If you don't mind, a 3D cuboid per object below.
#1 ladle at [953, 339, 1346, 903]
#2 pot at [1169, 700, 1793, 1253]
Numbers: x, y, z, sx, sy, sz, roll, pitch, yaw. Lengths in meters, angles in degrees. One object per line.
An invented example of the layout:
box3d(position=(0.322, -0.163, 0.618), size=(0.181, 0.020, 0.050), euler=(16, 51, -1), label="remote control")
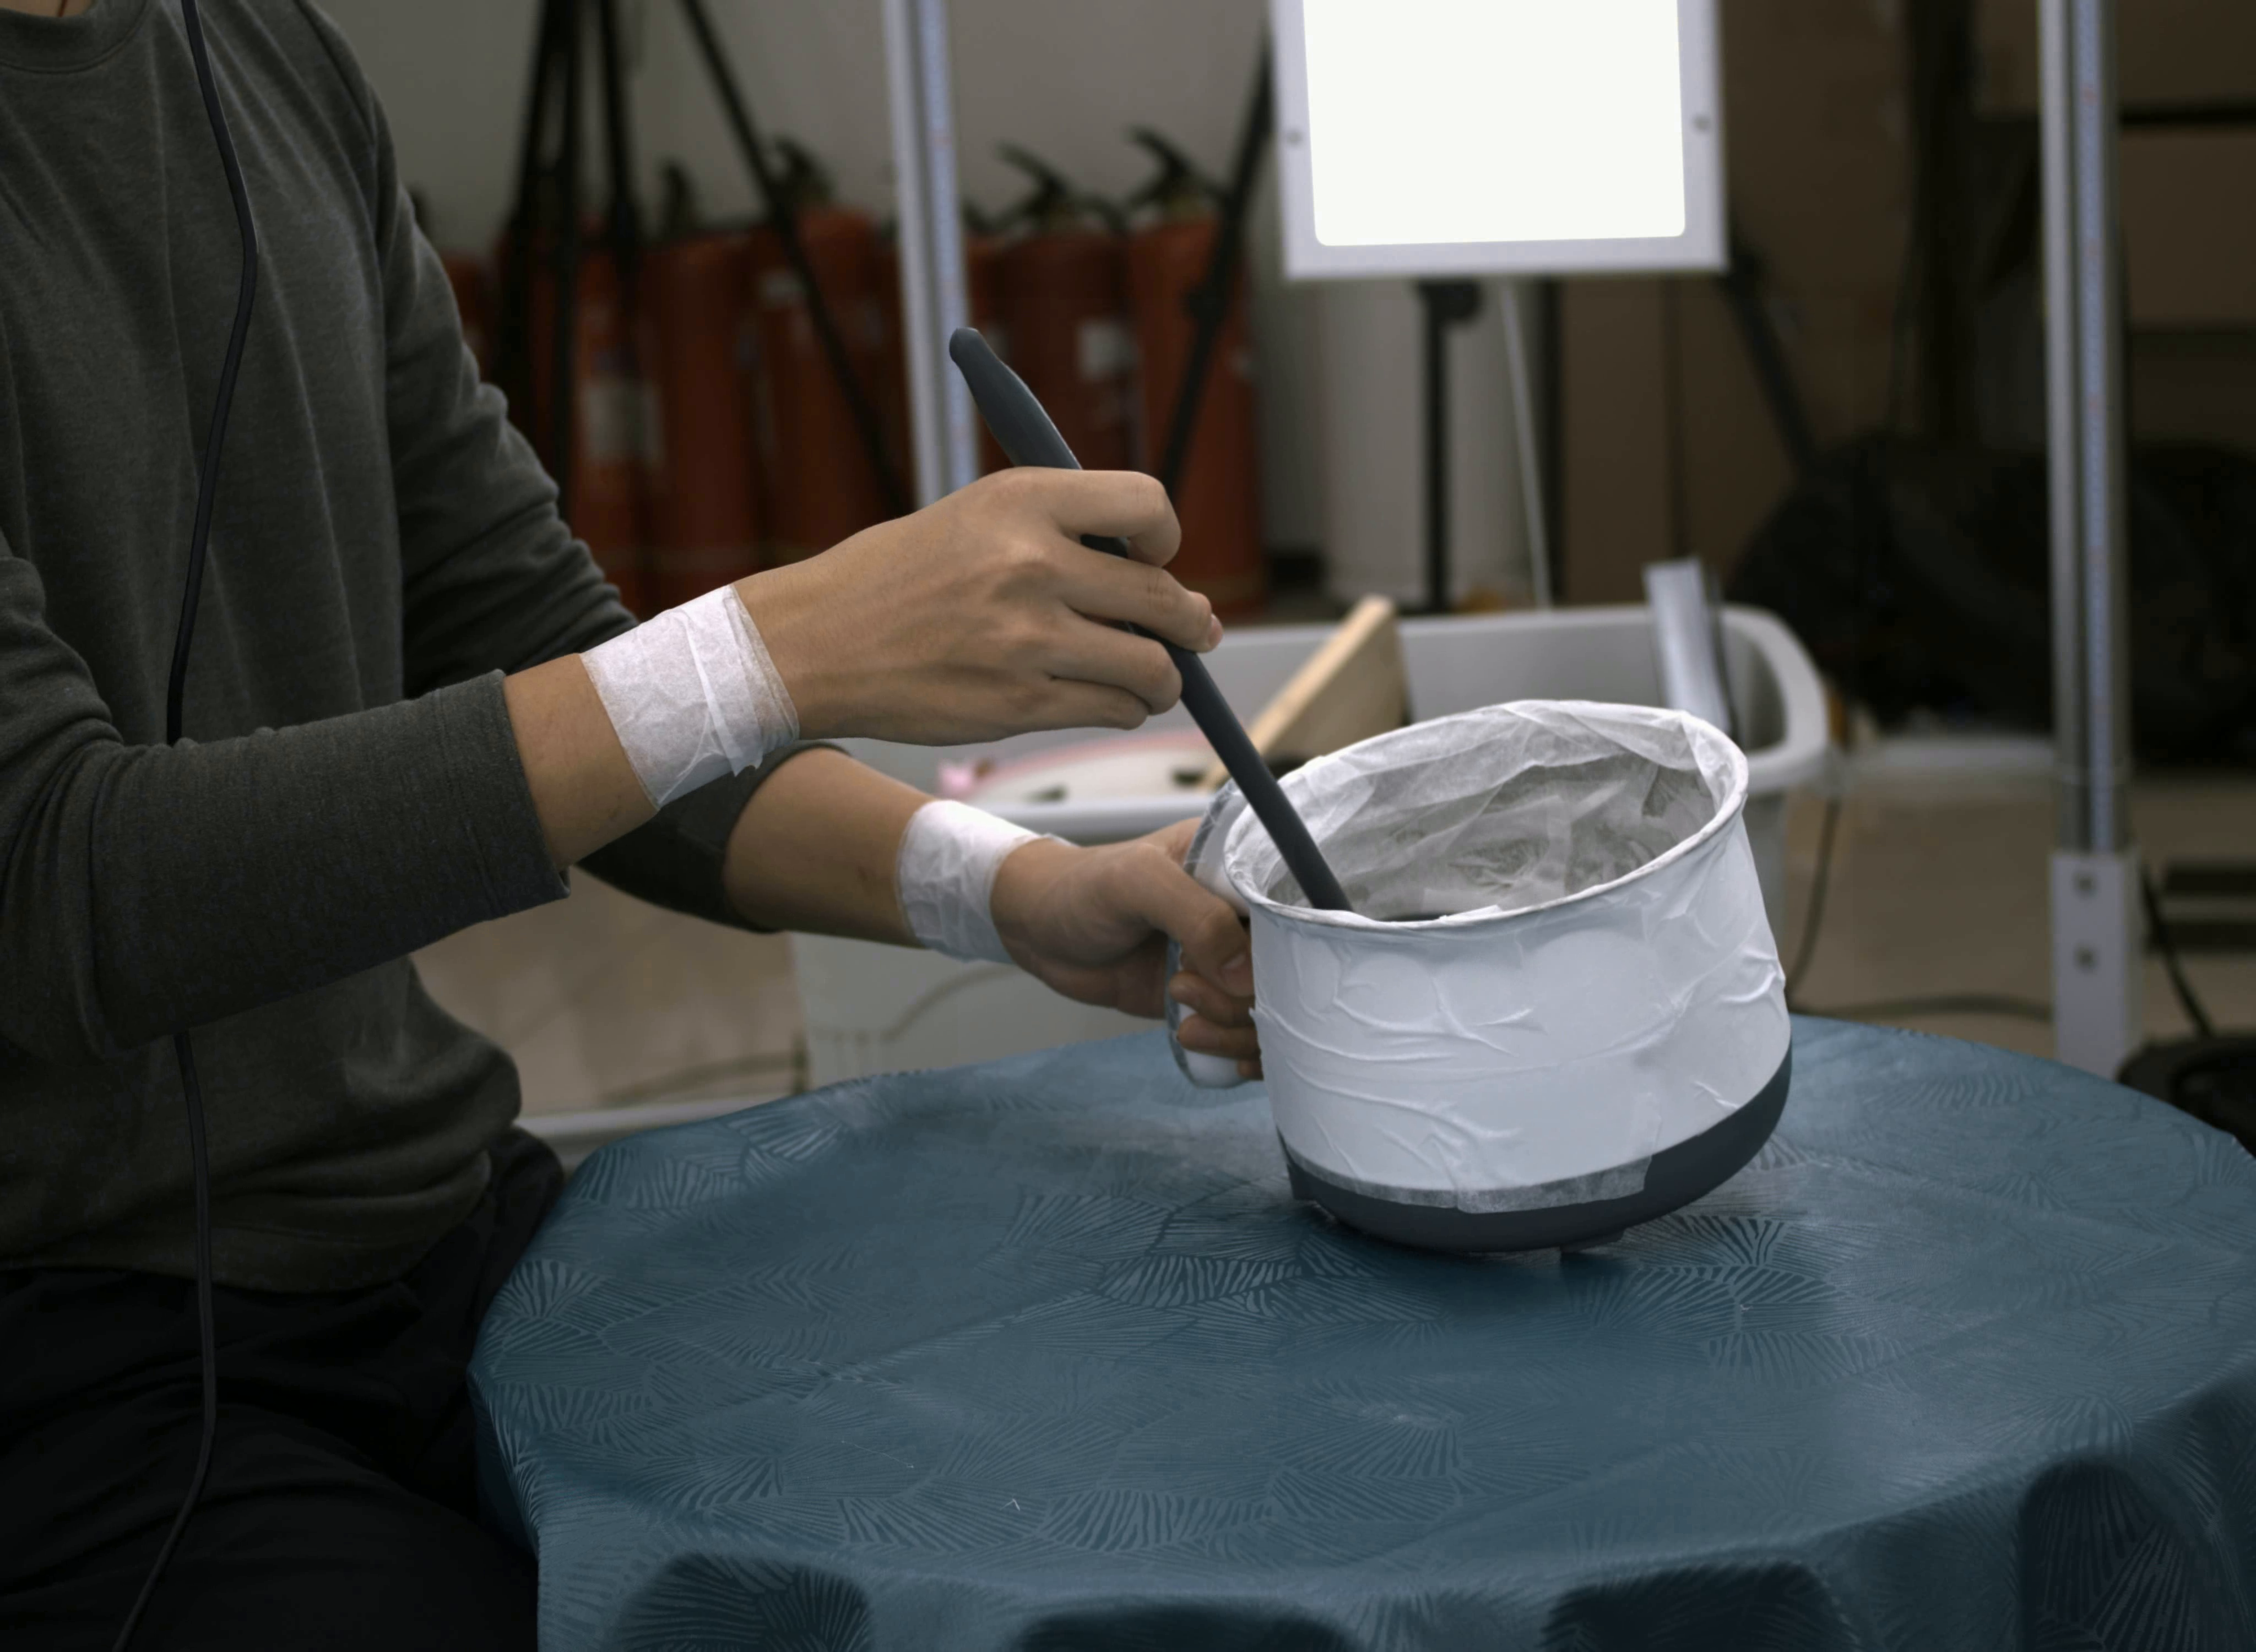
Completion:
box3d(position=(0.048, -0.045, 1.788), size=(0.064, 0.312, 0.087), euler=(-36, 21, -4), label="ladle")
box3d(position=(0.108, 0.050, 1.853), size=(0.238, 0.137, 0.174), euler=(5, 28, 38), label="pot")
